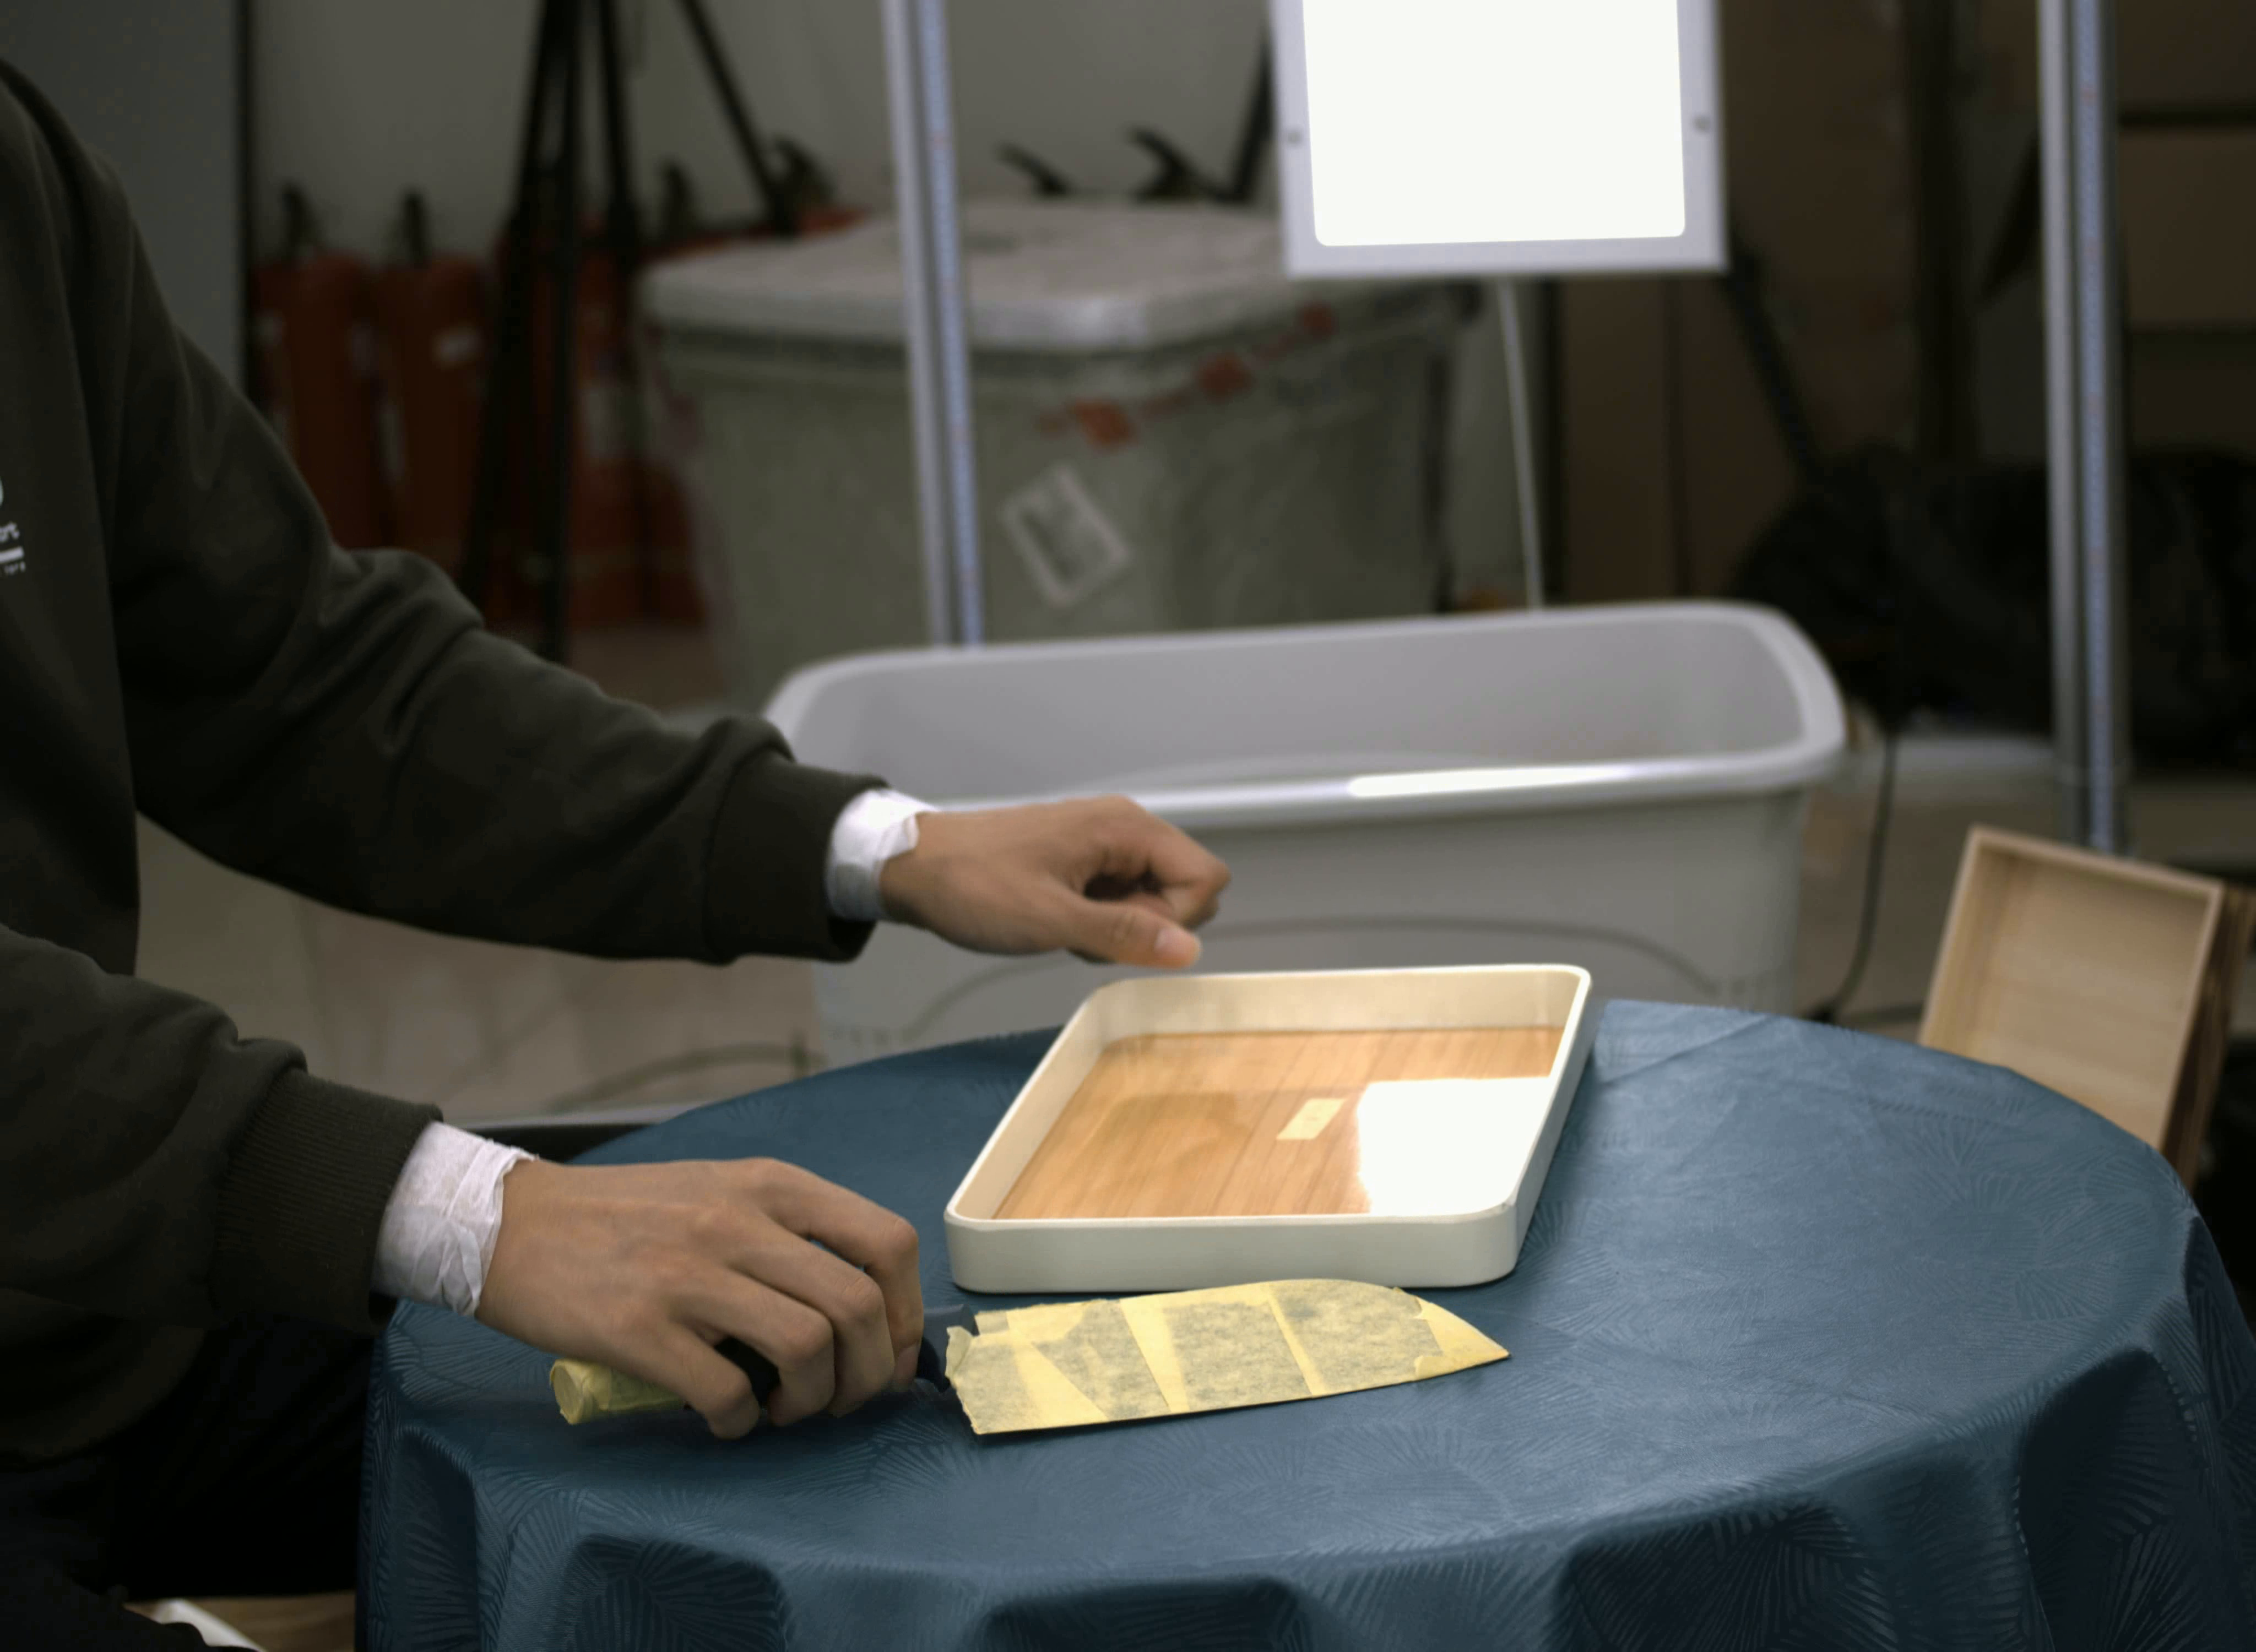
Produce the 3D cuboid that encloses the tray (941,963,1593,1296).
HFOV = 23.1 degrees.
[{"bbox_3d":[0.056,0.103,1.923,0.193,0.027,0.297,-3,13,13],"label":"tray"}]

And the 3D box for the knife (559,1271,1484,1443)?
[{"bbox_3d":[-0.030,0.167,1.702,0.287,0.027,0.081,-6,23,-6],"label":"knife"}]
